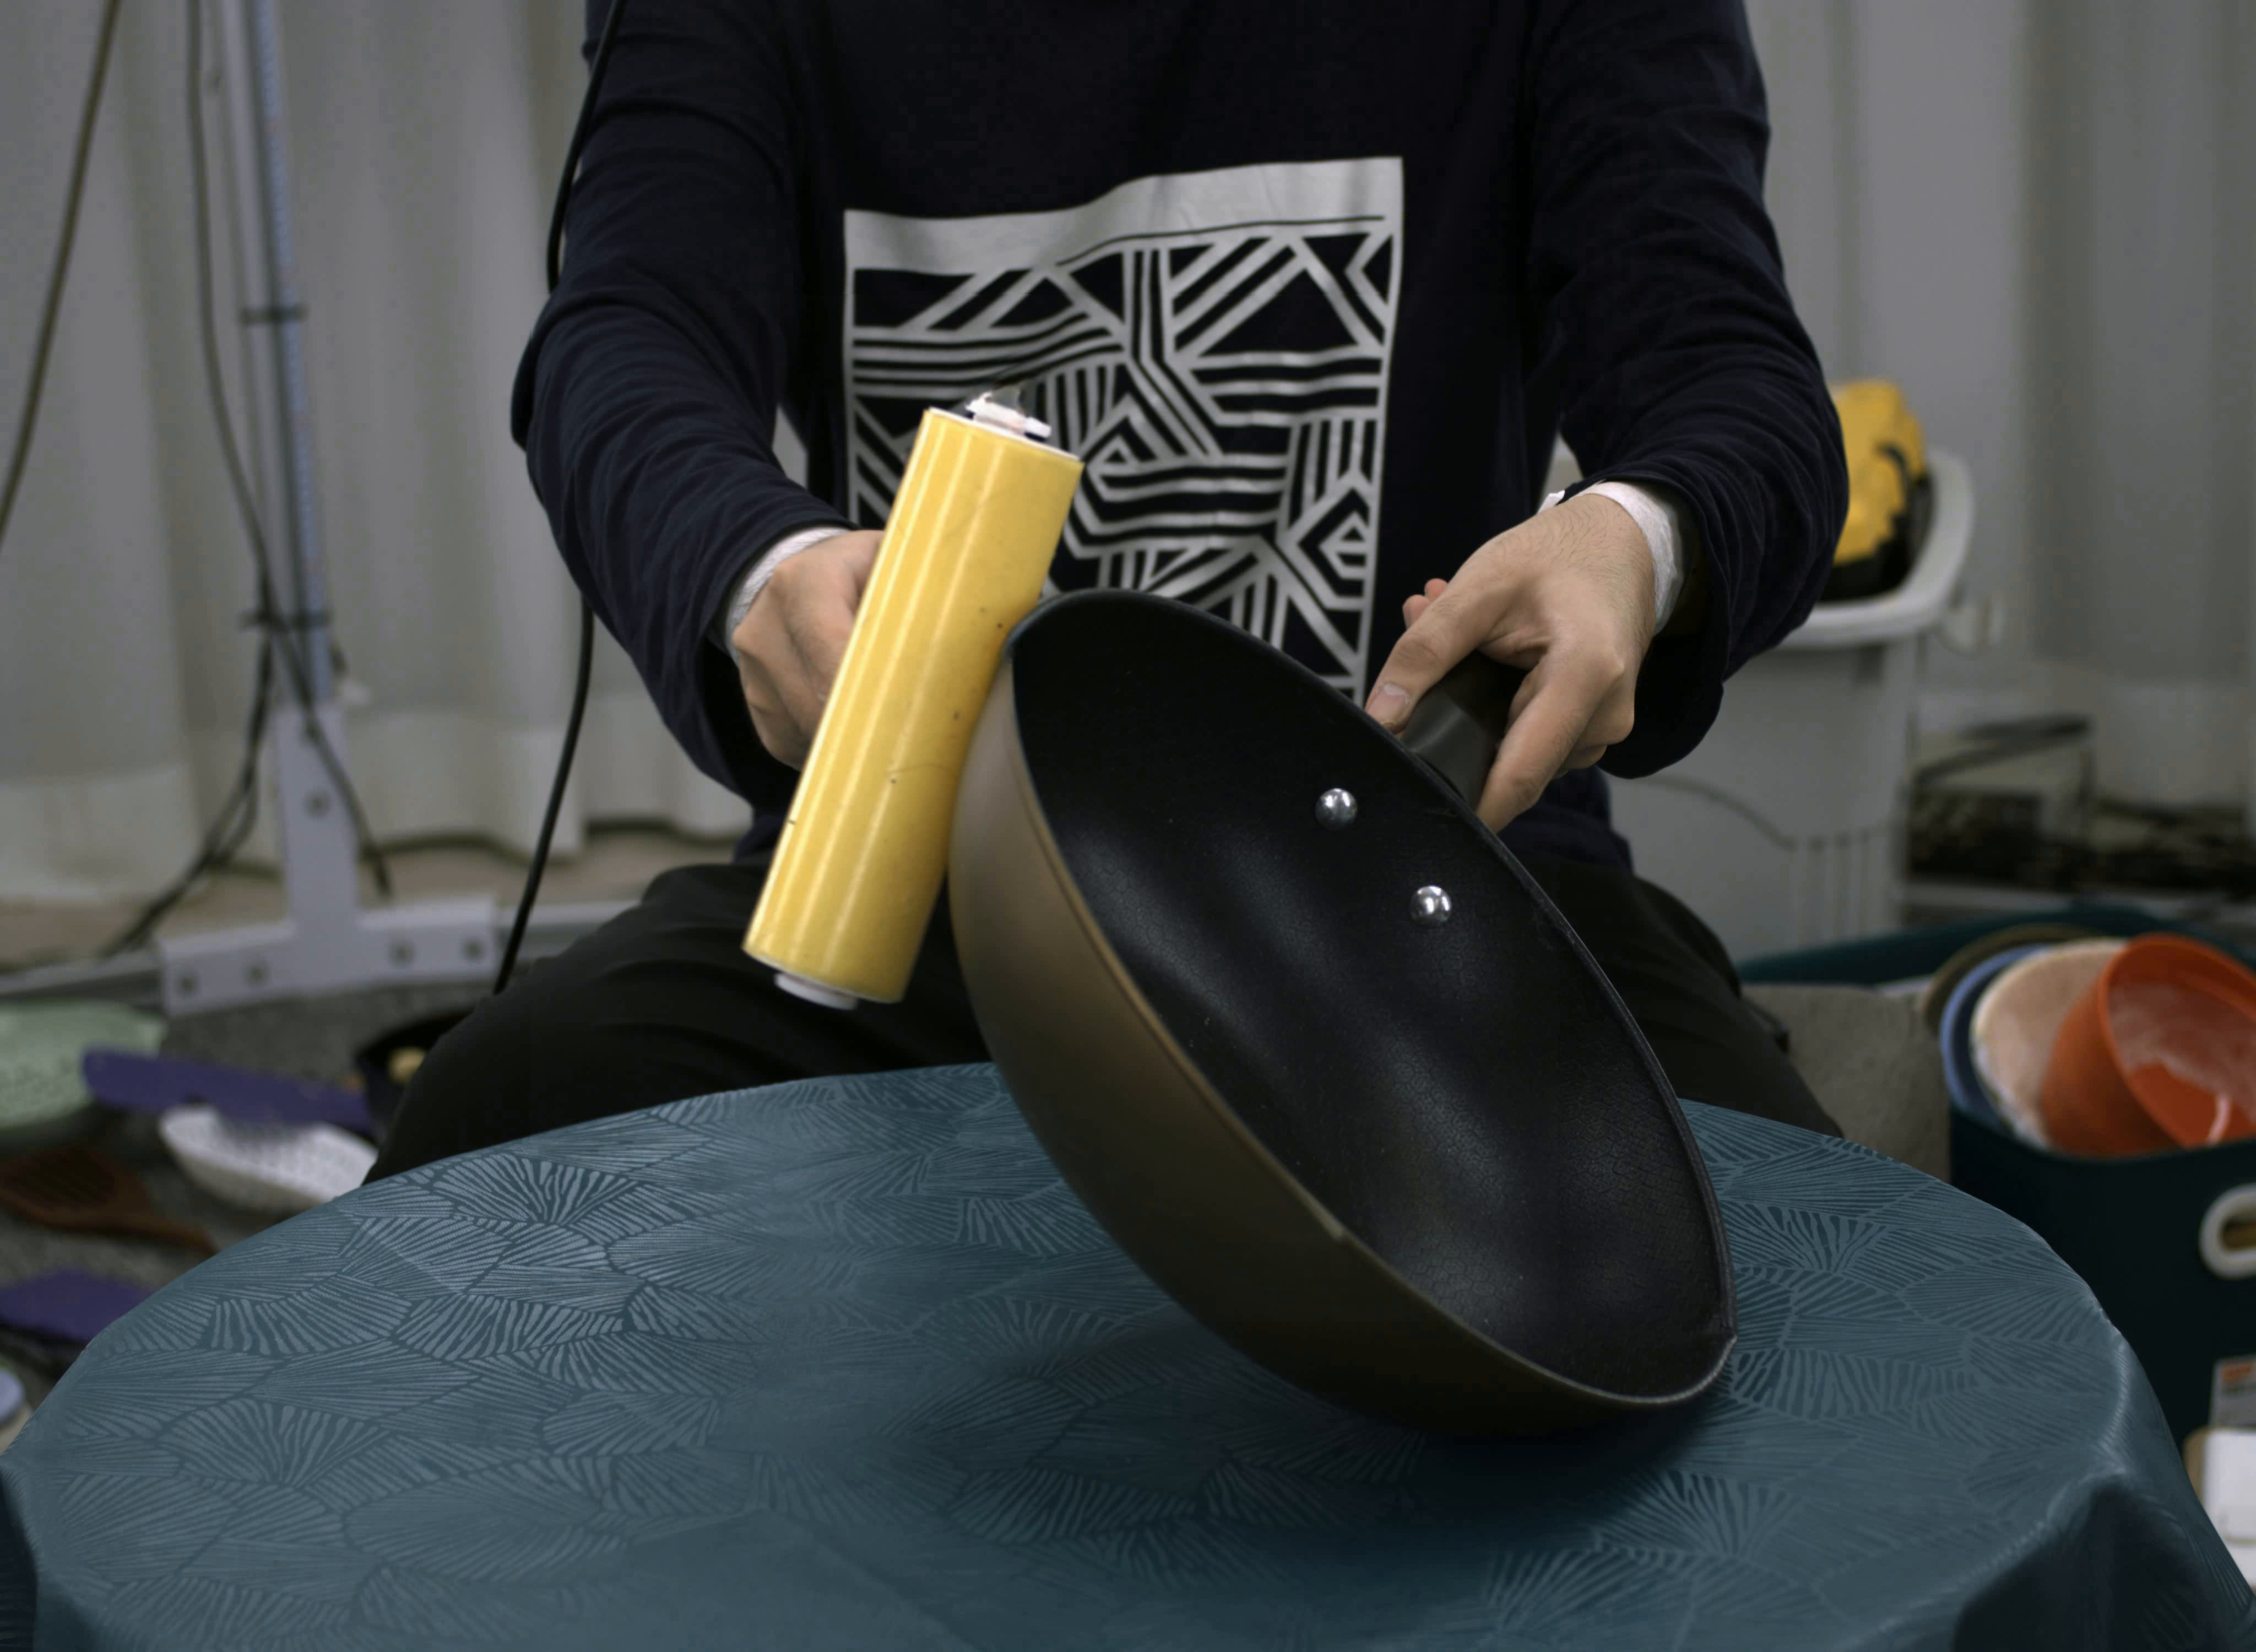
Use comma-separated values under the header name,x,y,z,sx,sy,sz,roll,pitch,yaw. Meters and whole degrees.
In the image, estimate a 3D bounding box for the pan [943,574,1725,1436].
name,x,y,z,sx,sy,sz,roll,pitch,yaw
pan,0.059,0.029,1.602,0.086,0.287,0.467,-41,10,23

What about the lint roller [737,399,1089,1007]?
name,x,y,z,sx,sy,sz,roll,pitch,yaw
lint roller,-0.076,-0.041,1.598,0.051,0.174,0.193,20,0,-15
